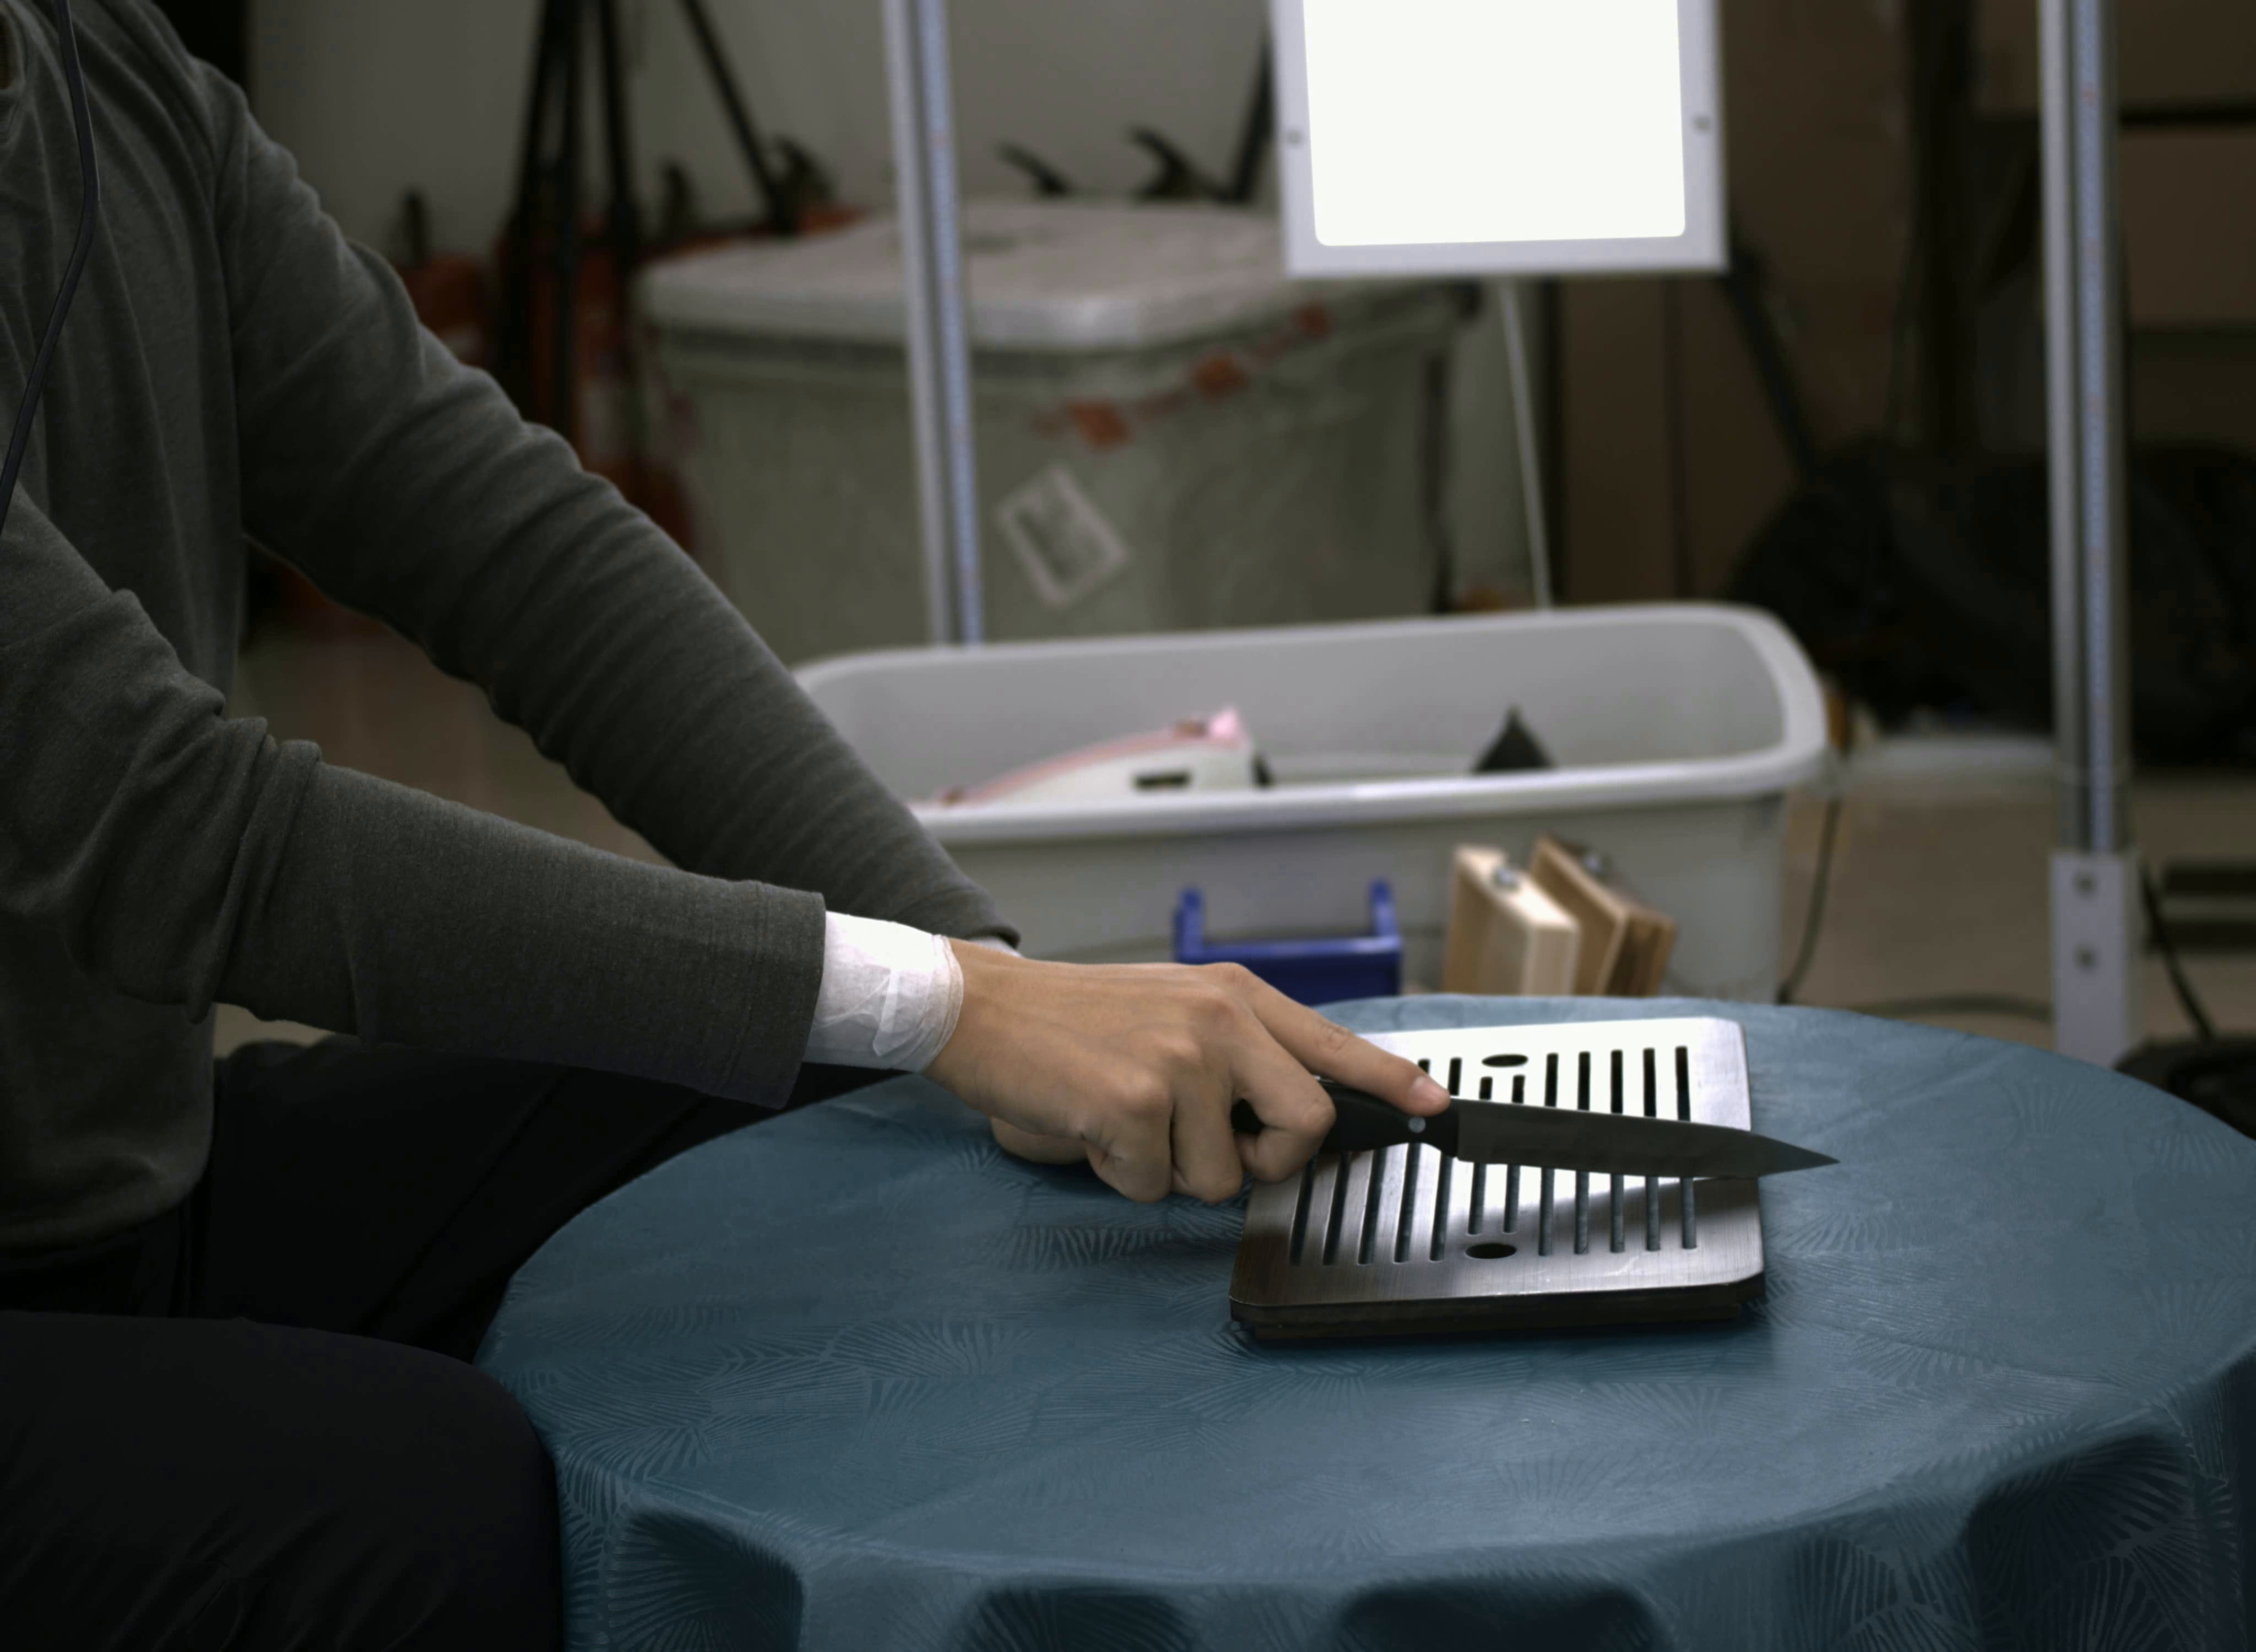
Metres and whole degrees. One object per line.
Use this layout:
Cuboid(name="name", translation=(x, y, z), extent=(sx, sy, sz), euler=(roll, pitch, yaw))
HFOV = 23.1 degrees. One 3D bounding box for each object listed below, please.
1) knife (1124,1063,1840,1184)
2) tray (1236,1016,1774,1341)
Cuboid(name="knife", translation=(0.117, 0.098, 1.811), extent=(0.239, 0.024, 0.016), euler=(6, 15, 7))
Cuboid(name="tray", translation=(0.131, 0.117, 1.857), extent=(0.171, 0.019, 0.304), euler=(-4, 13, 7))
